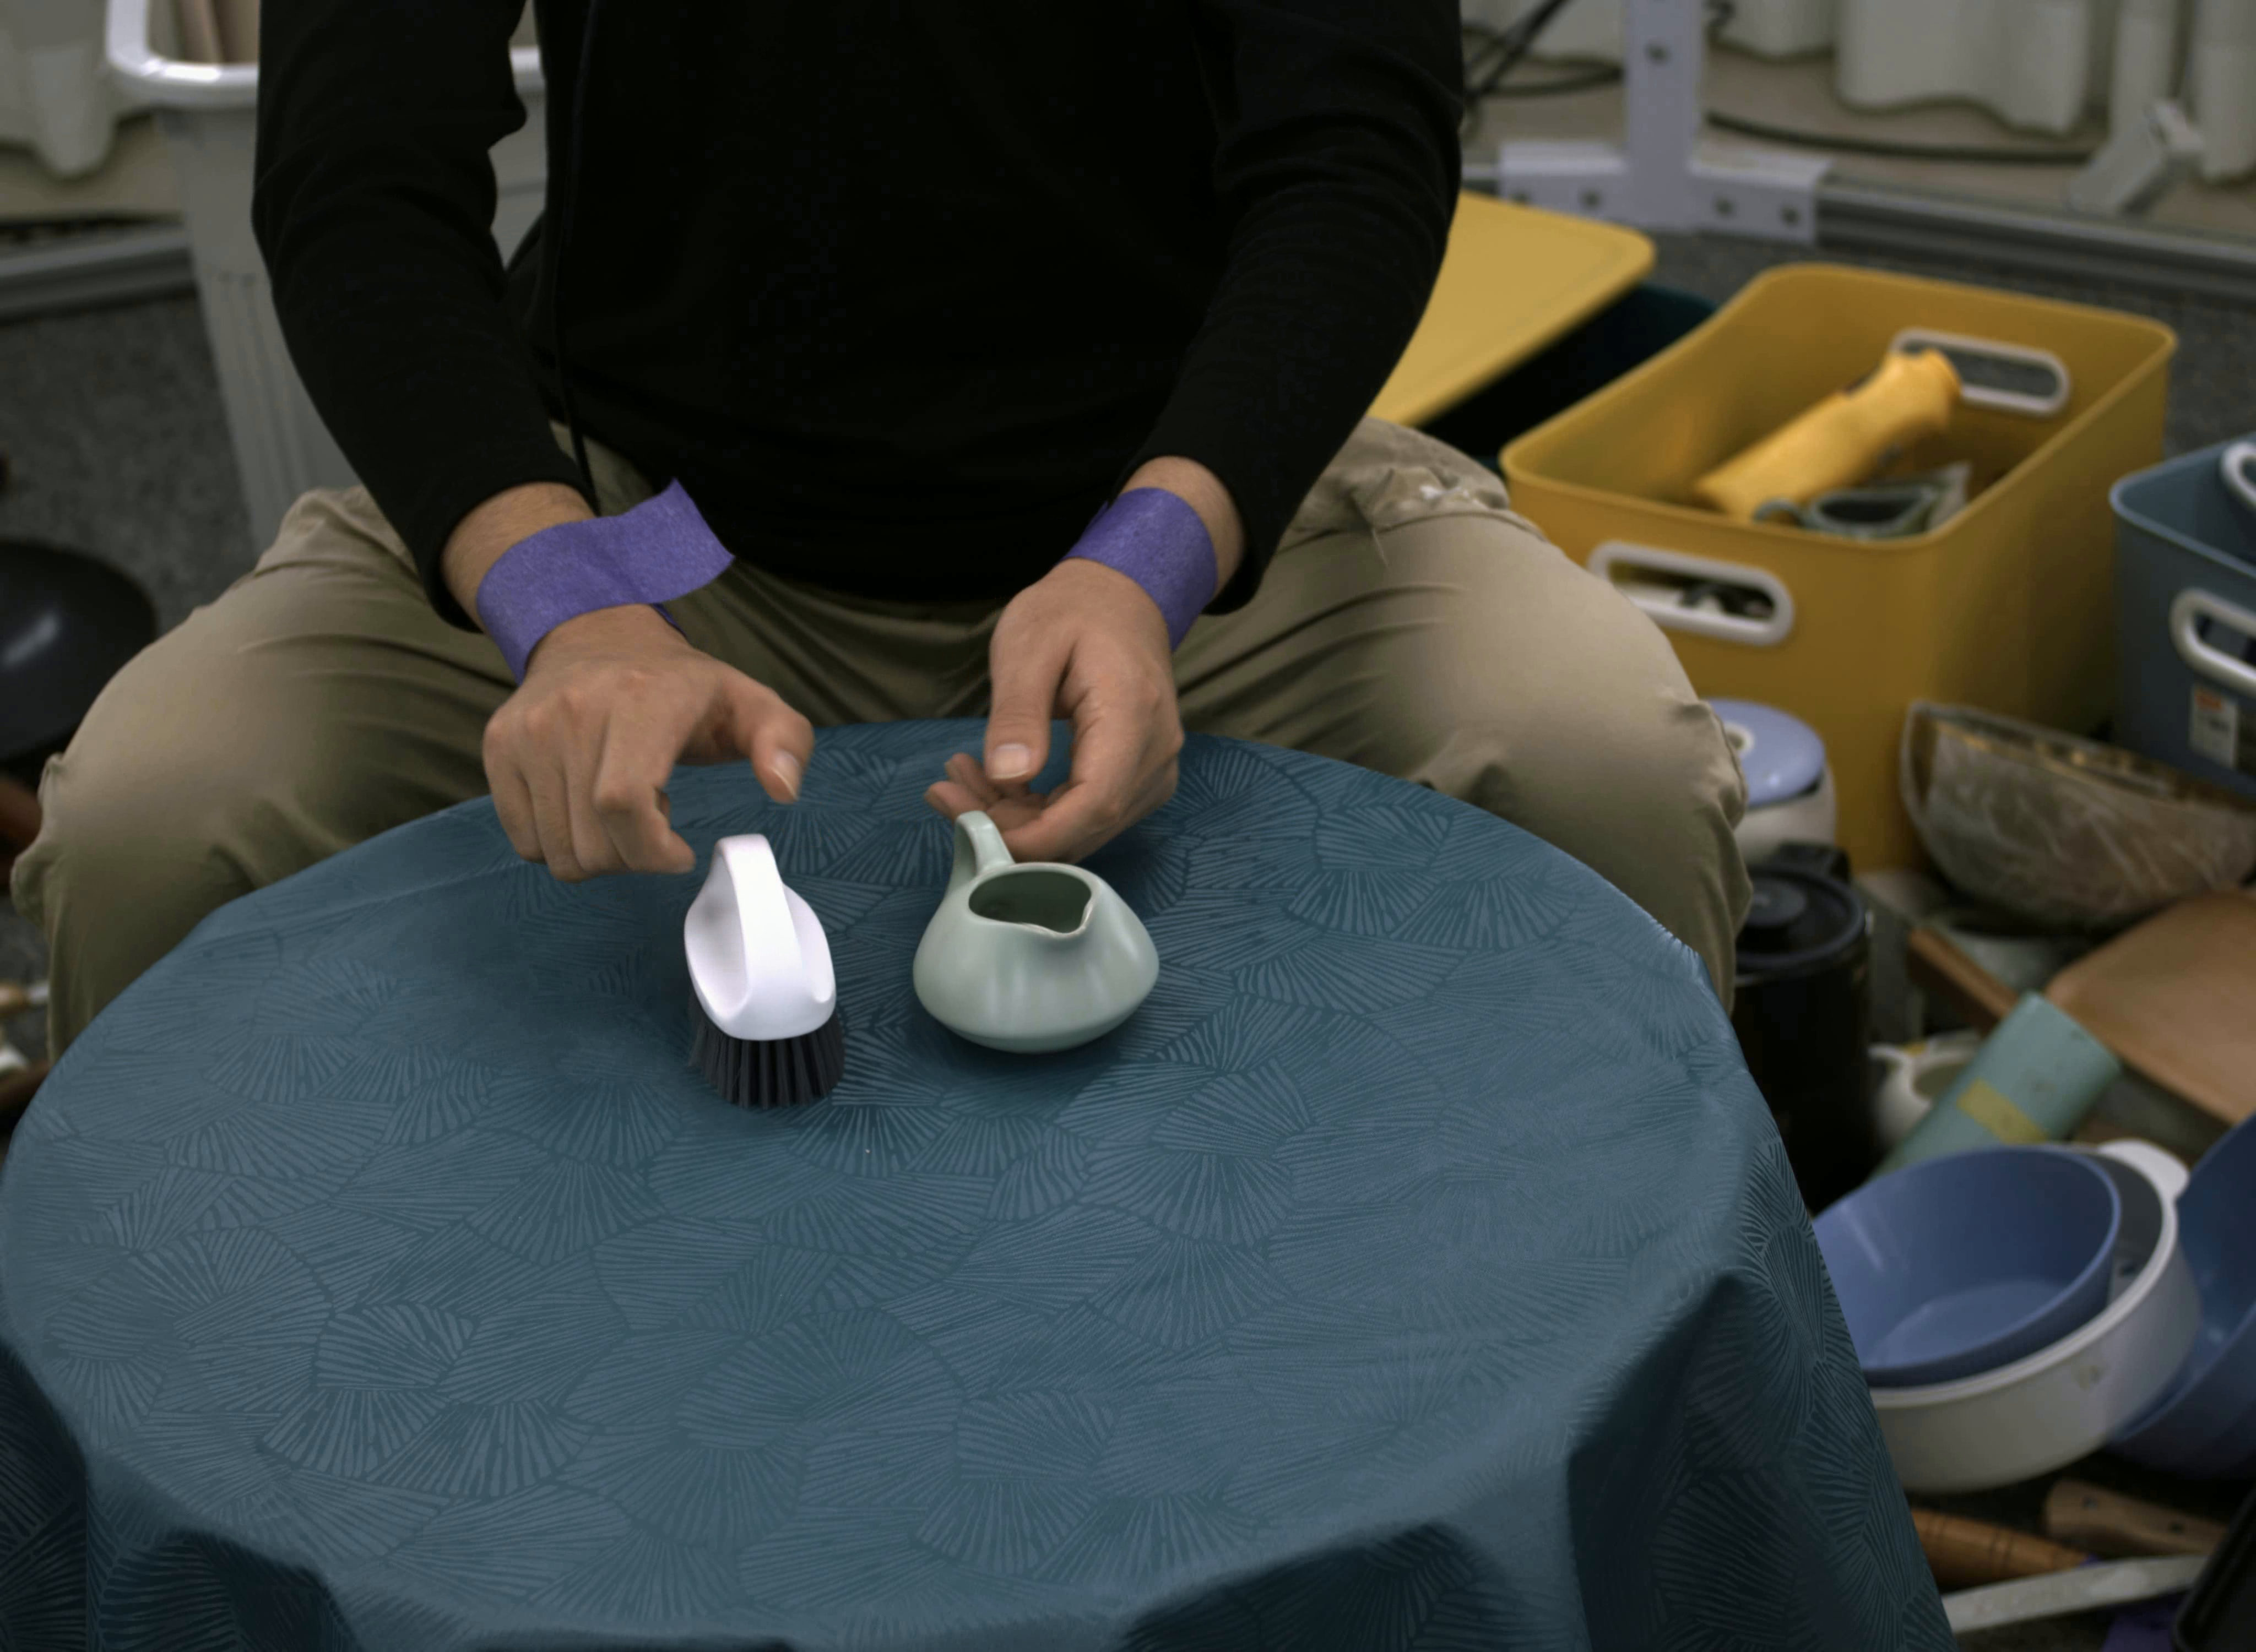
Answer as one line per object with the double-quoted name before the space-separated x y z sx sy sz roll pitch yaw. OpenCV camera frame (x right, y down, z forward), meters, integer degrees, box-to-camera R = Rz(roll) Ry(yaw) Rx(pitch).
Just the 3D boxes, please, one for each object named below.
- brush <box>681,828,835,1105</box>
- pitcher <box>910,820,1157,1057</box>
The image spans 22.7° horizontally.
"brush" -0.130 0.042 1.947 0.050 0.071 0.100 -5 28 -8
"pitcher" -0.038 0.040 1.964 0.086 0.060 0.108 -14 26 -21
